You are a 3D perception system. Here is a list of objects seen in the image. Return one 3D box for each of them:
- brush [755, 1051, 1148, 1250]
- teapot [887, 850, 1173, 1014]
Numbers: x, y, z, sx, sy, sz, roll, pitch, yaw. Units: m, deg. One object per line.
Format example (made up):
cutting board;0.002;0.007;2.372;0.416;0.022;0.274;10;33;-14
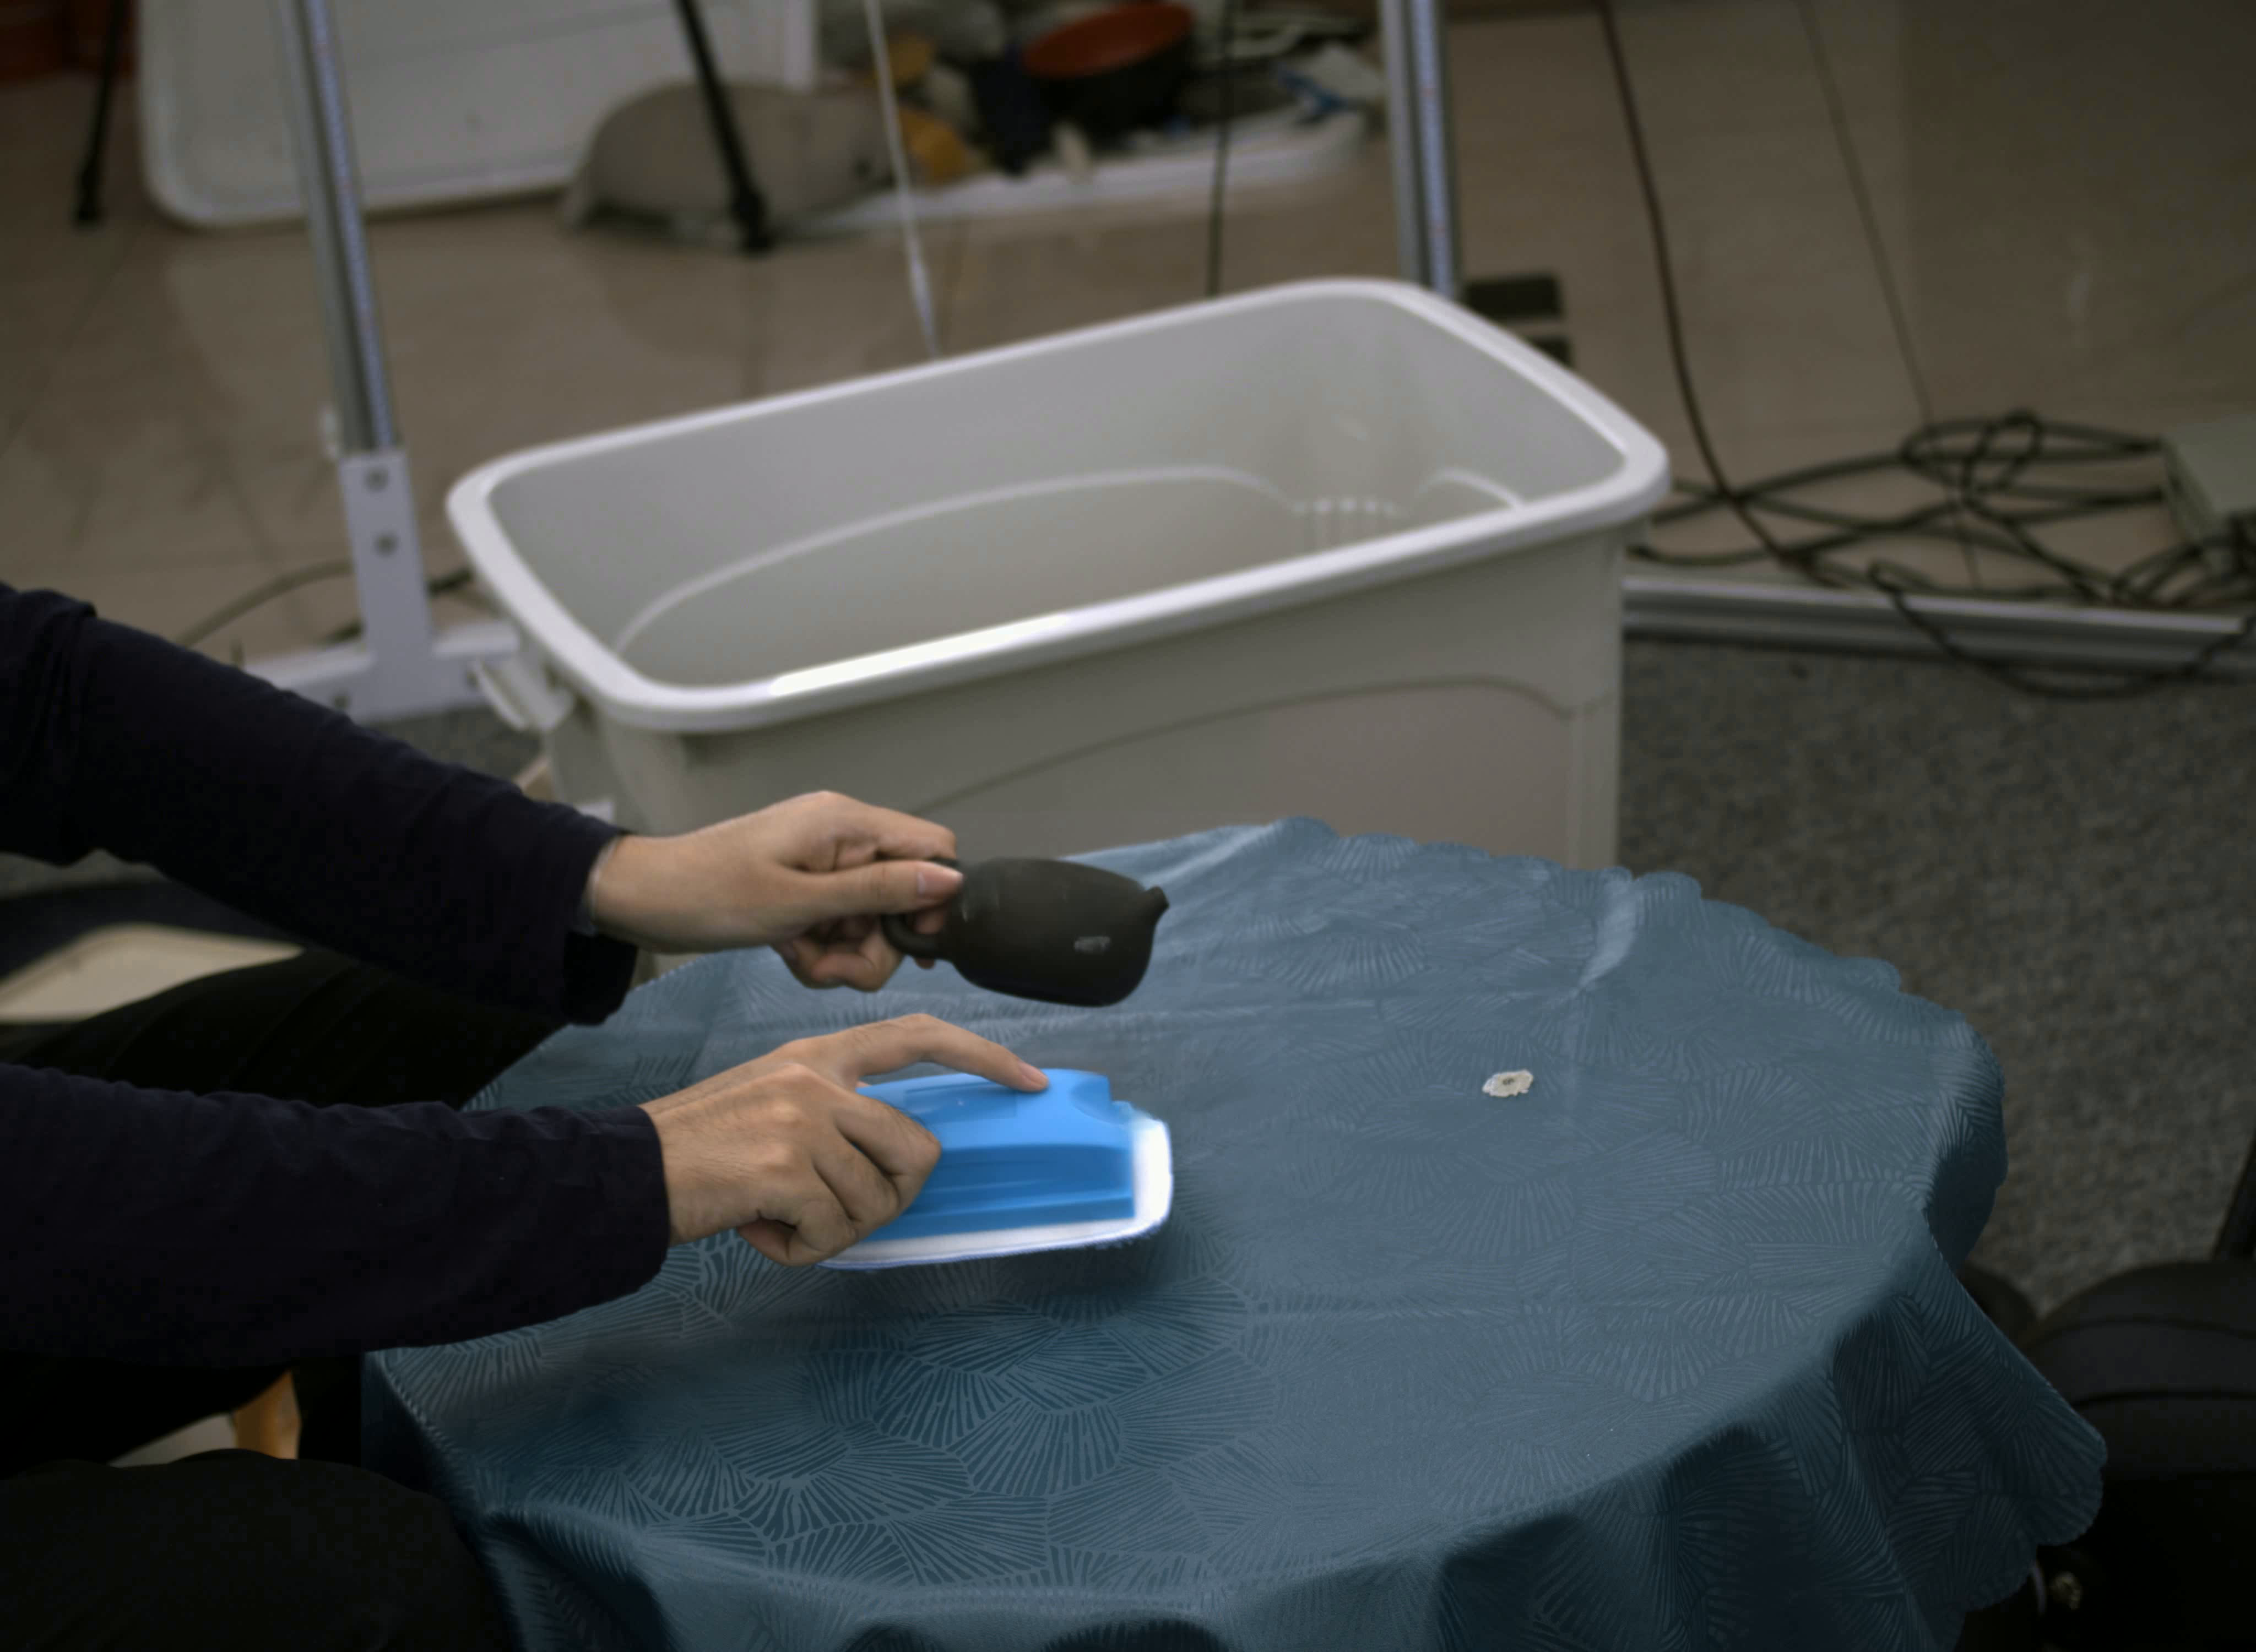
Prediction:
brush;-0.065;0.115;2.074;0.144;0.057;0.082;-2;35;3
teapot;-0.041;0.039;2.217;0.113;0.053;0.084;10;-13;19
